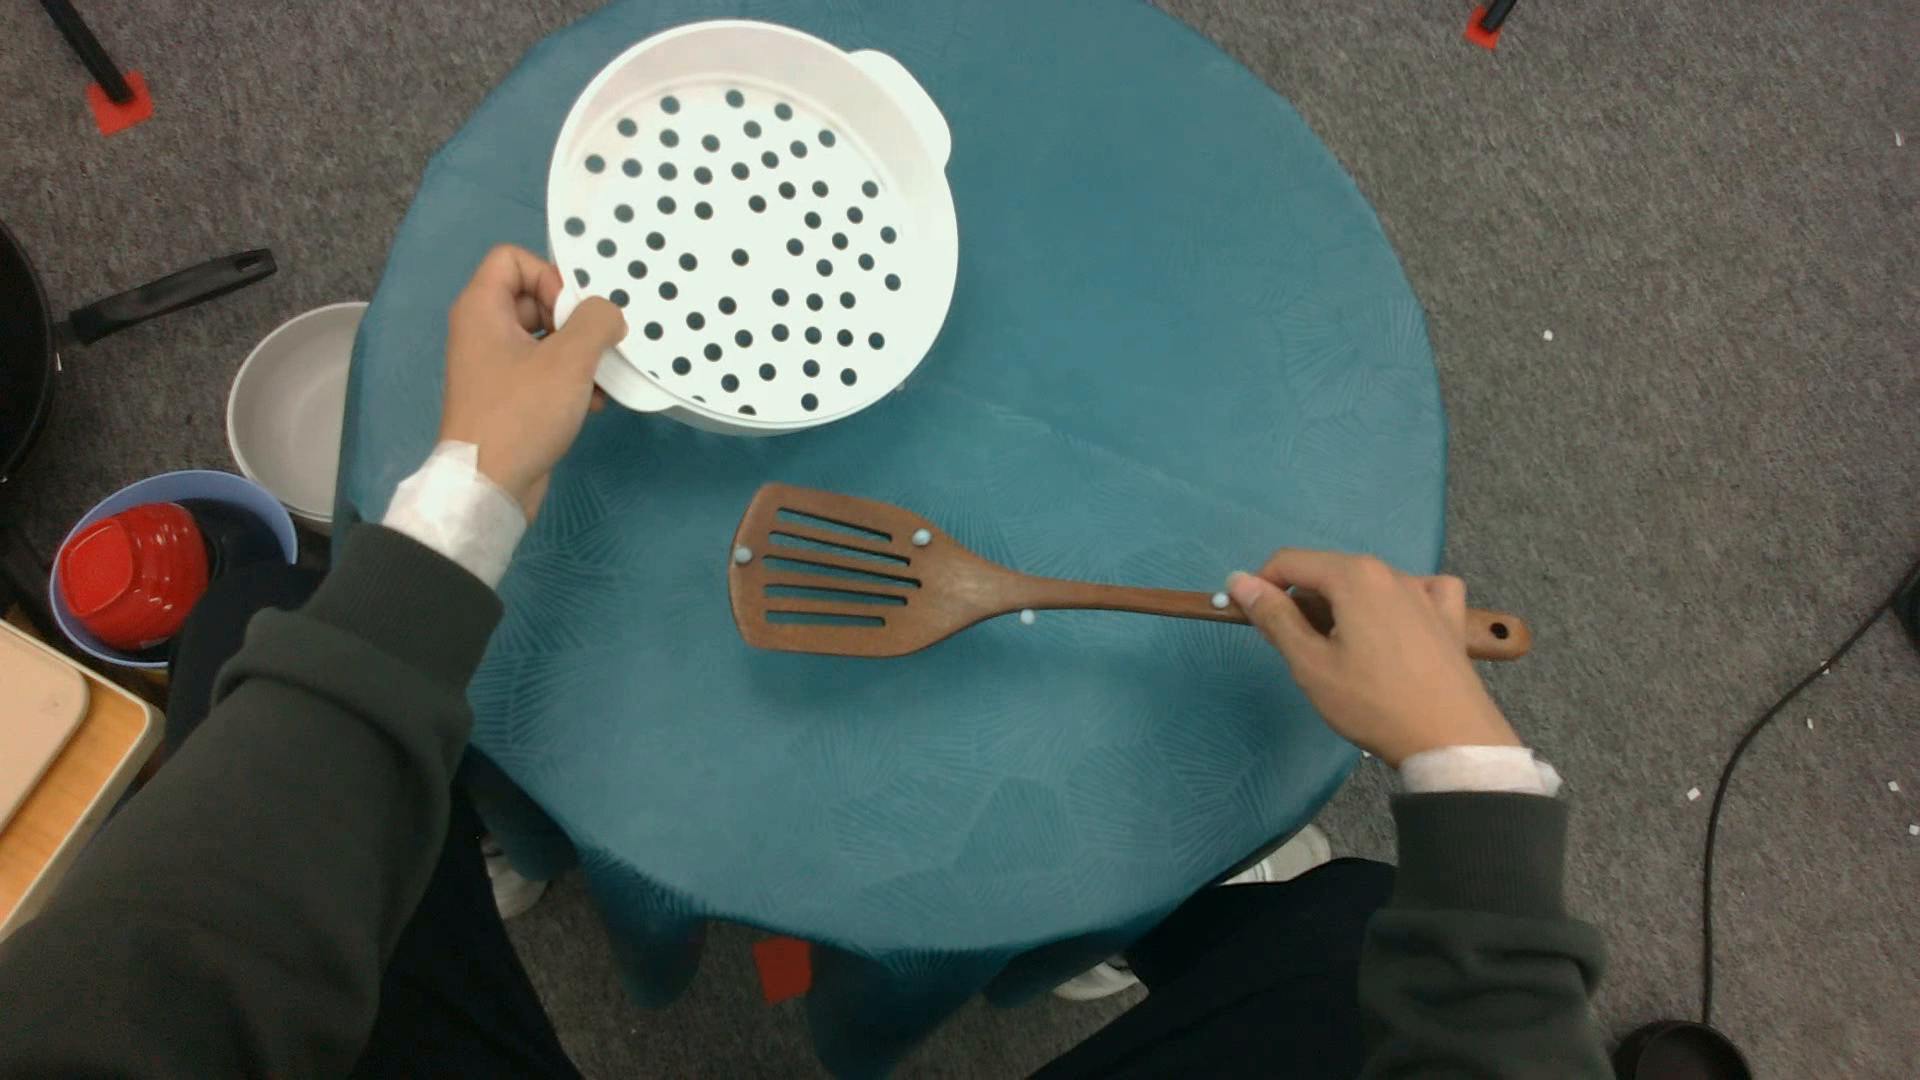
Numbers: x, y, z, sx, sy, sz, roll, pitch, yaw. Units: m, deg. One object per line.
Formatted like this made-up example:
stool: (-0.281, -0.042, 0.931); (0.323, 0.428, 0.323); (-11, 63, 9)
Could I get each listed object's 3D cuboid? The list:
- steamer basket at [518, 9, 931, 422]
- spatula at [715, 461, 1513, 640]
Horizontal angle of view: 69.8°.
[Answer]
steamer basket: (-0.119, -0.159, 0.698); (0.202, 0.069, 0.231); (47, 73, -10)
spatula: (0.079, 0.016, 0.660); (0.385, 0.023, 0.086); (4, 69, -4)
